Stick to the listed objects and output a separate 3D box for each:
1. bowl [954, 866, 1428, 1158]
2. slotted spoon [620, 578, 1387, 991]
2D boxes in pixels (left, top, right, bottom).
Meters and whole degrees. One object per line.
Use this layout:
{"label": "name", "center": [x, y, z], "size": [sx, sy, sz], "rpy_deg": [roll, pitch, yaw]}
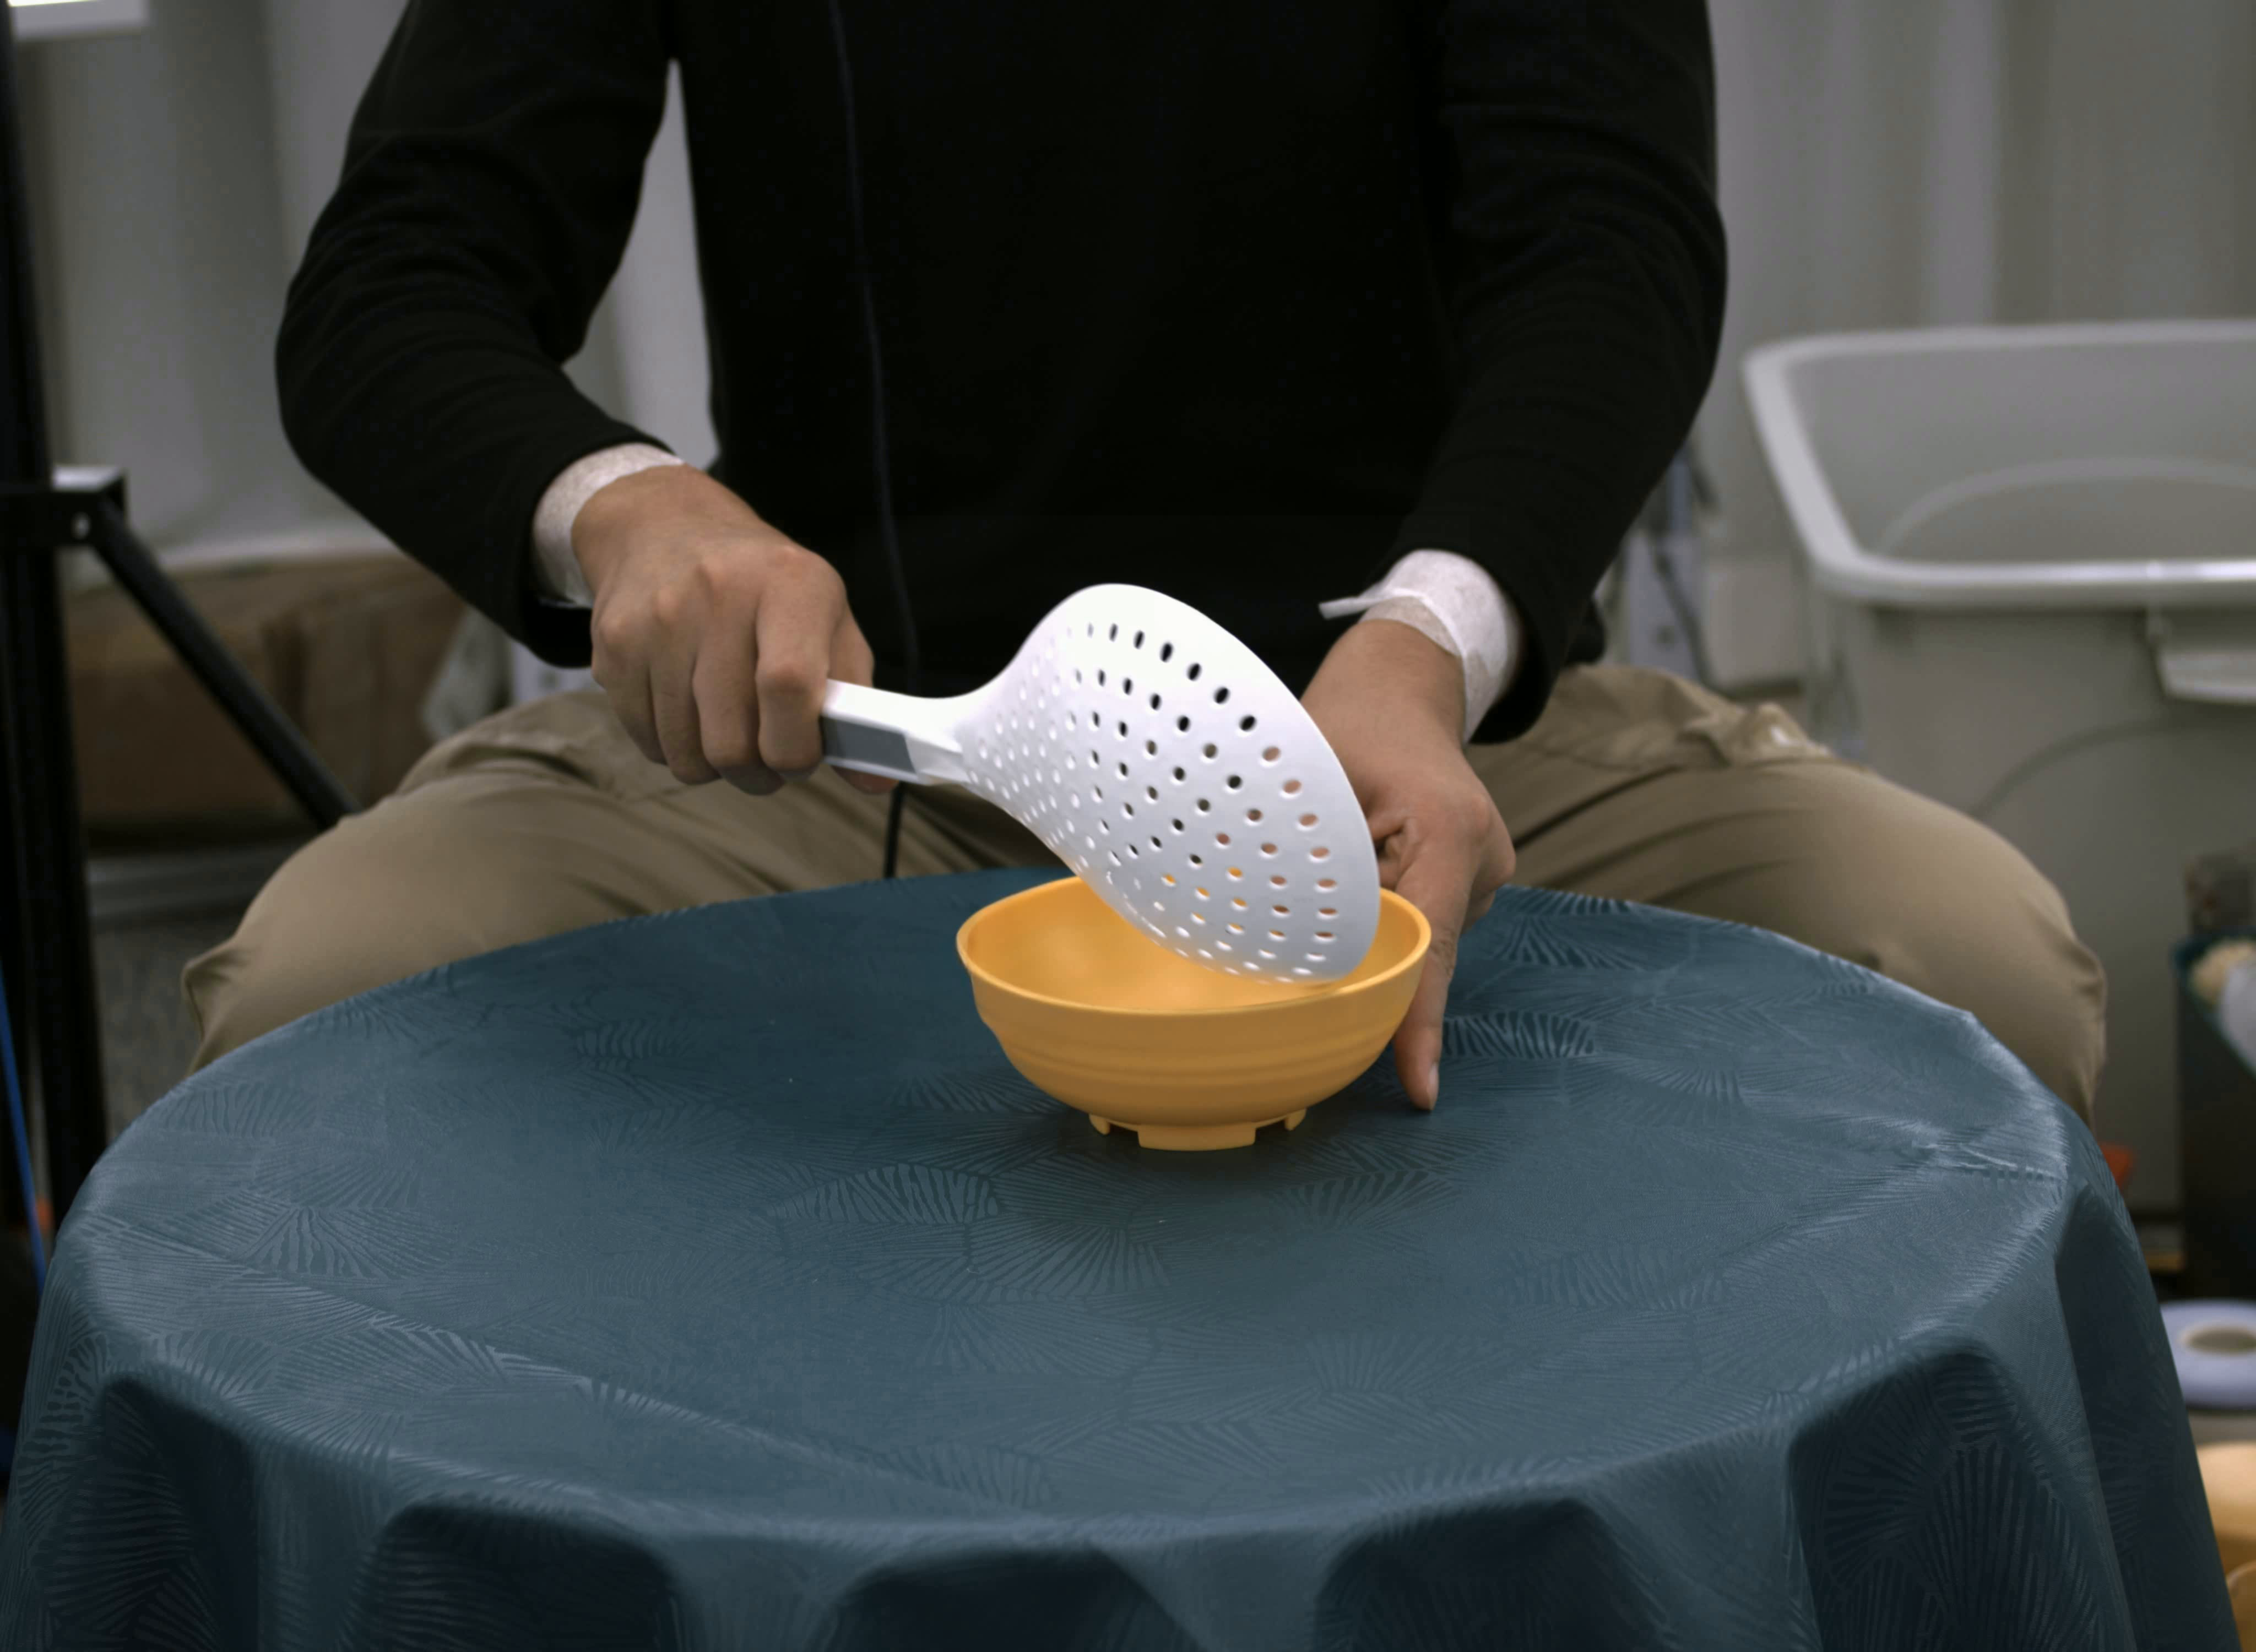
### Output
{"label": "bowl", "center": [0.019, 0.061, 1.615], "size": [0.144, 0.060, 0.146], "rpy_deg": [-1, 18, -1]}
{"label": "slotted spoon", "center": [-0.049, -0.024, 1.627], "size": [0.045, 0.135, 0.358], "rpy_deg": [-31, 27, -26]}
